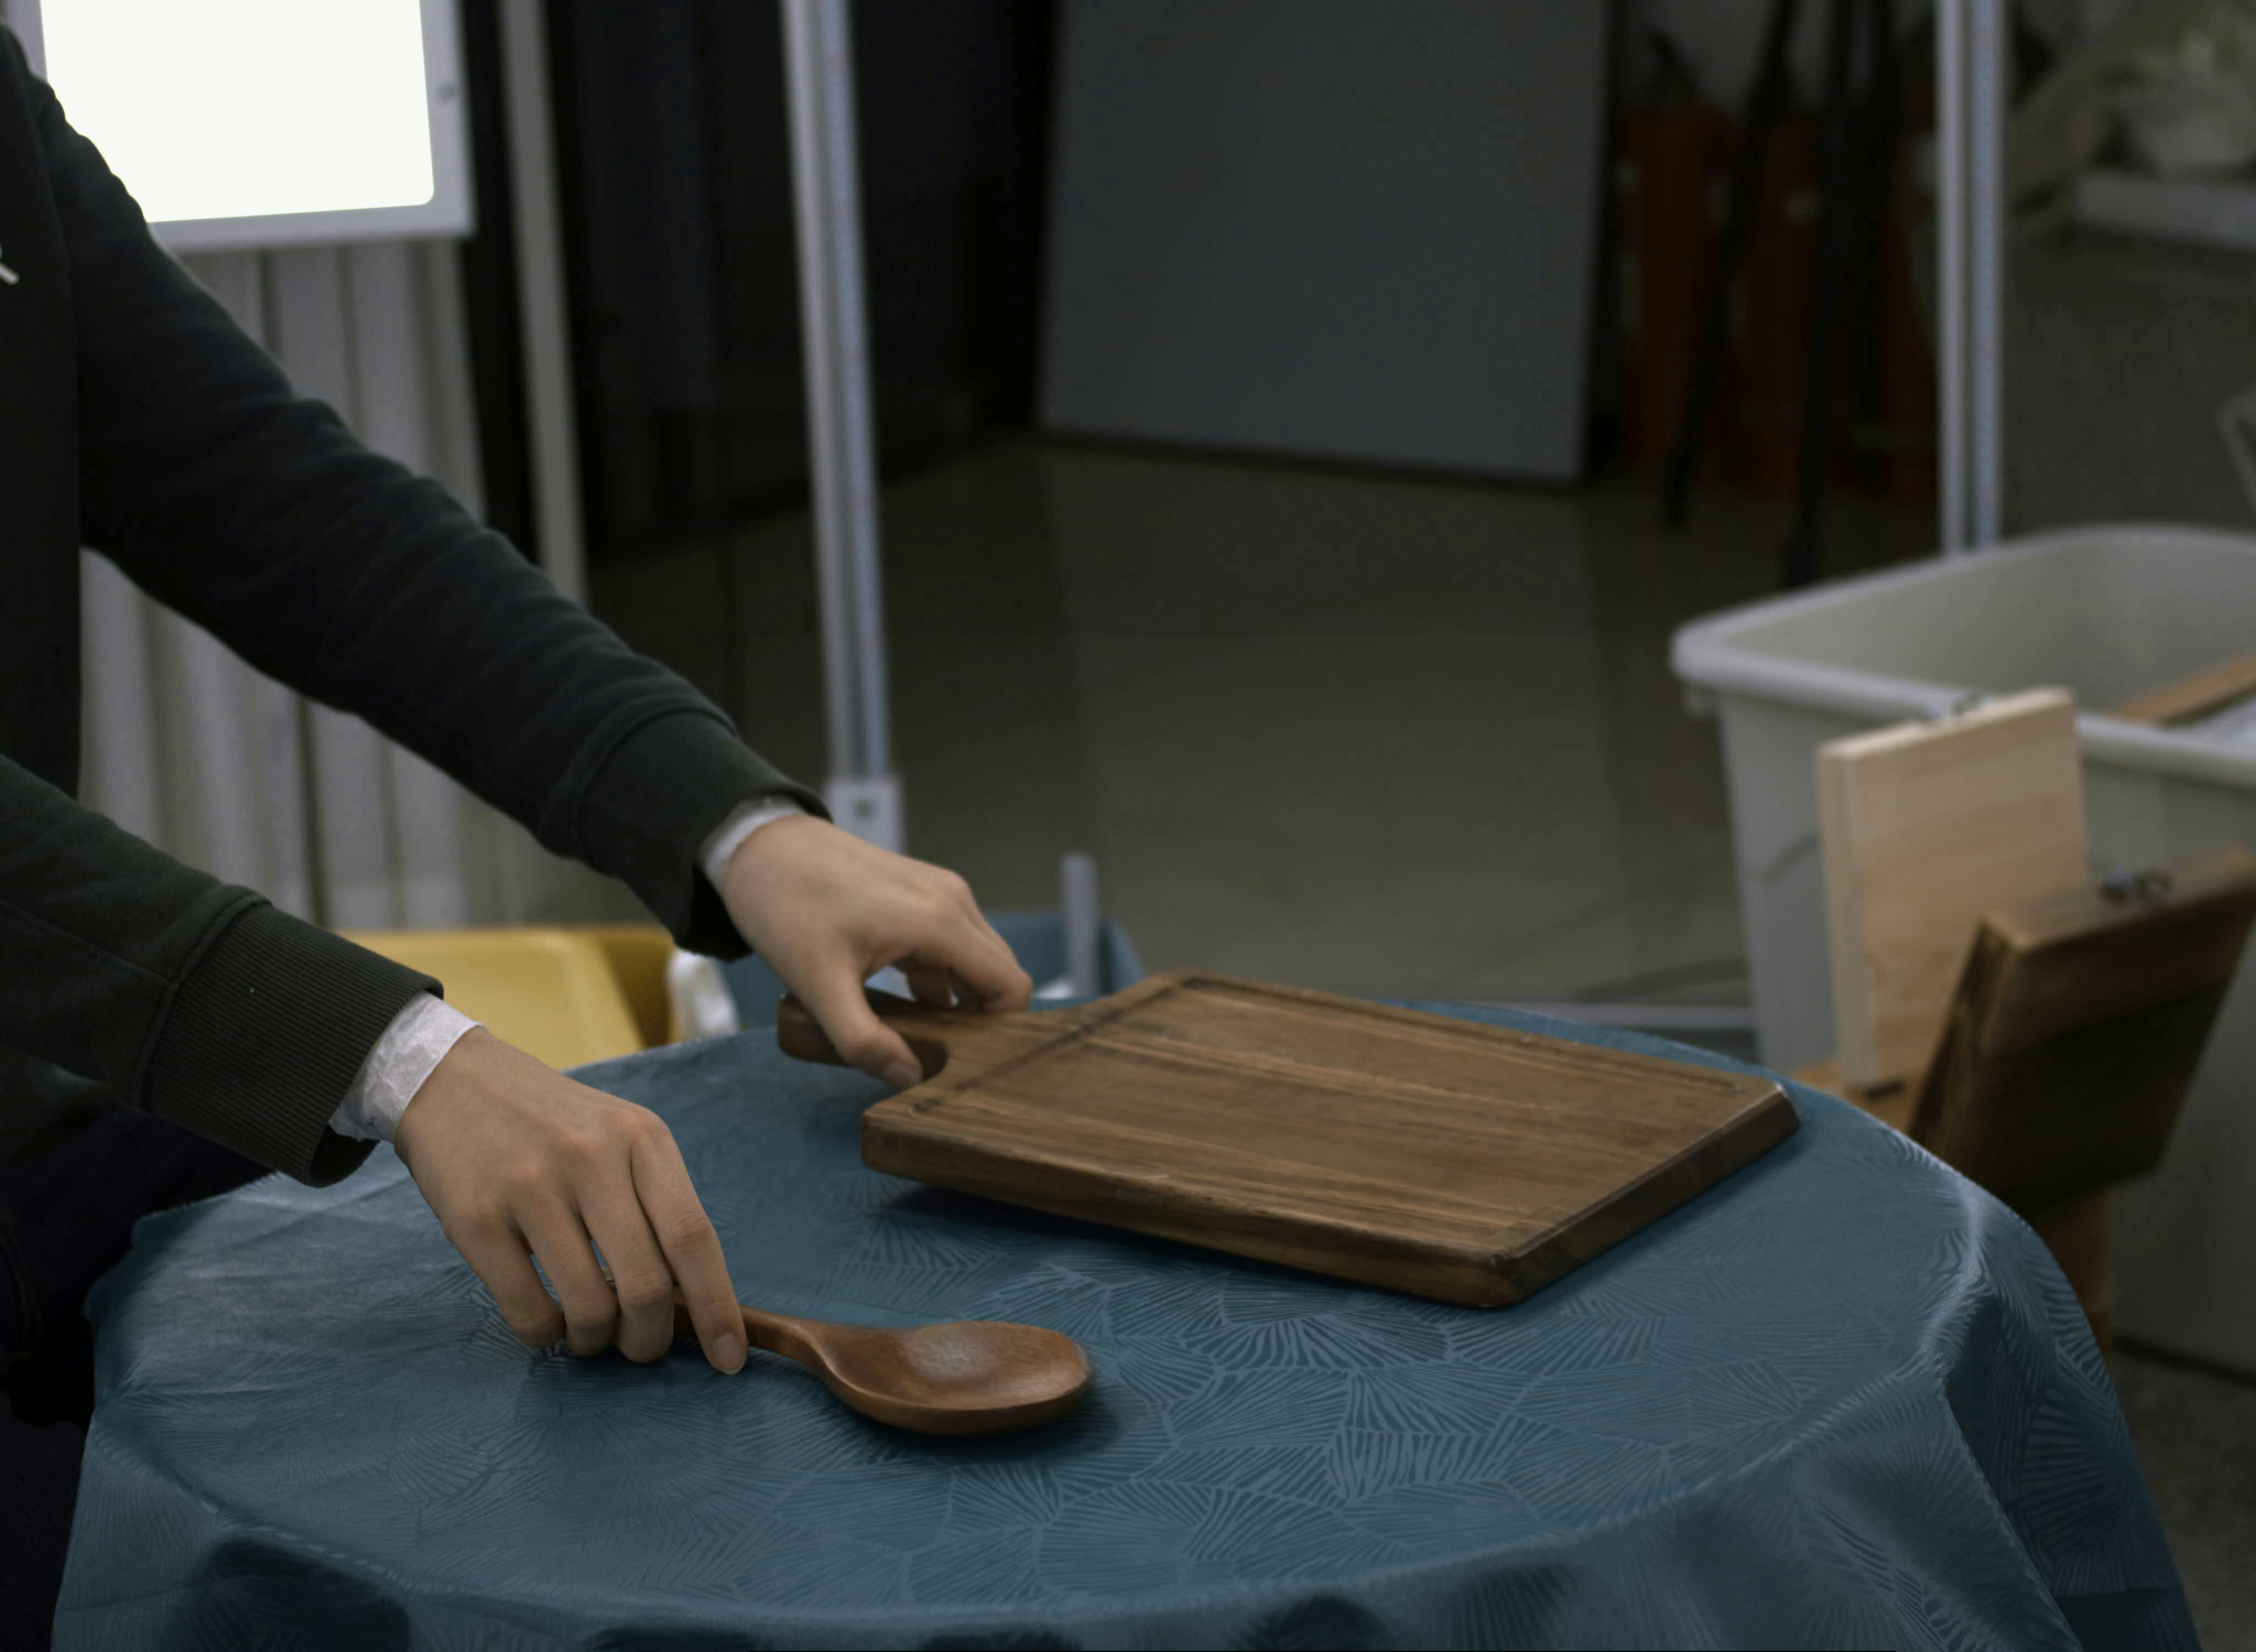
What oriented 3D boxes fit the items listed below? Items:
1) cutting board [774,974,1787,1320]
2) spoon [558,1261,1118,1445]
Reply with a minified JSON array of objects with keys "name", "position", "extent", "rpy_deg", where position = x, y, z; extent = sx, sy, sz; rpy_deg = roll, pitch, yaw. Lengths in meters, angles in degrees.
[{"name":"cutting board","position":[0.025,0.094,1.800],"extent":[0.354,0.023,0.197],"rpy_deg":[9,20,34]},{"name":"spoon","position":[-0.092,0.156,1.617],"extent":[0.217,0.017,0.074],"rpy_deg":[9,21,41]}]
